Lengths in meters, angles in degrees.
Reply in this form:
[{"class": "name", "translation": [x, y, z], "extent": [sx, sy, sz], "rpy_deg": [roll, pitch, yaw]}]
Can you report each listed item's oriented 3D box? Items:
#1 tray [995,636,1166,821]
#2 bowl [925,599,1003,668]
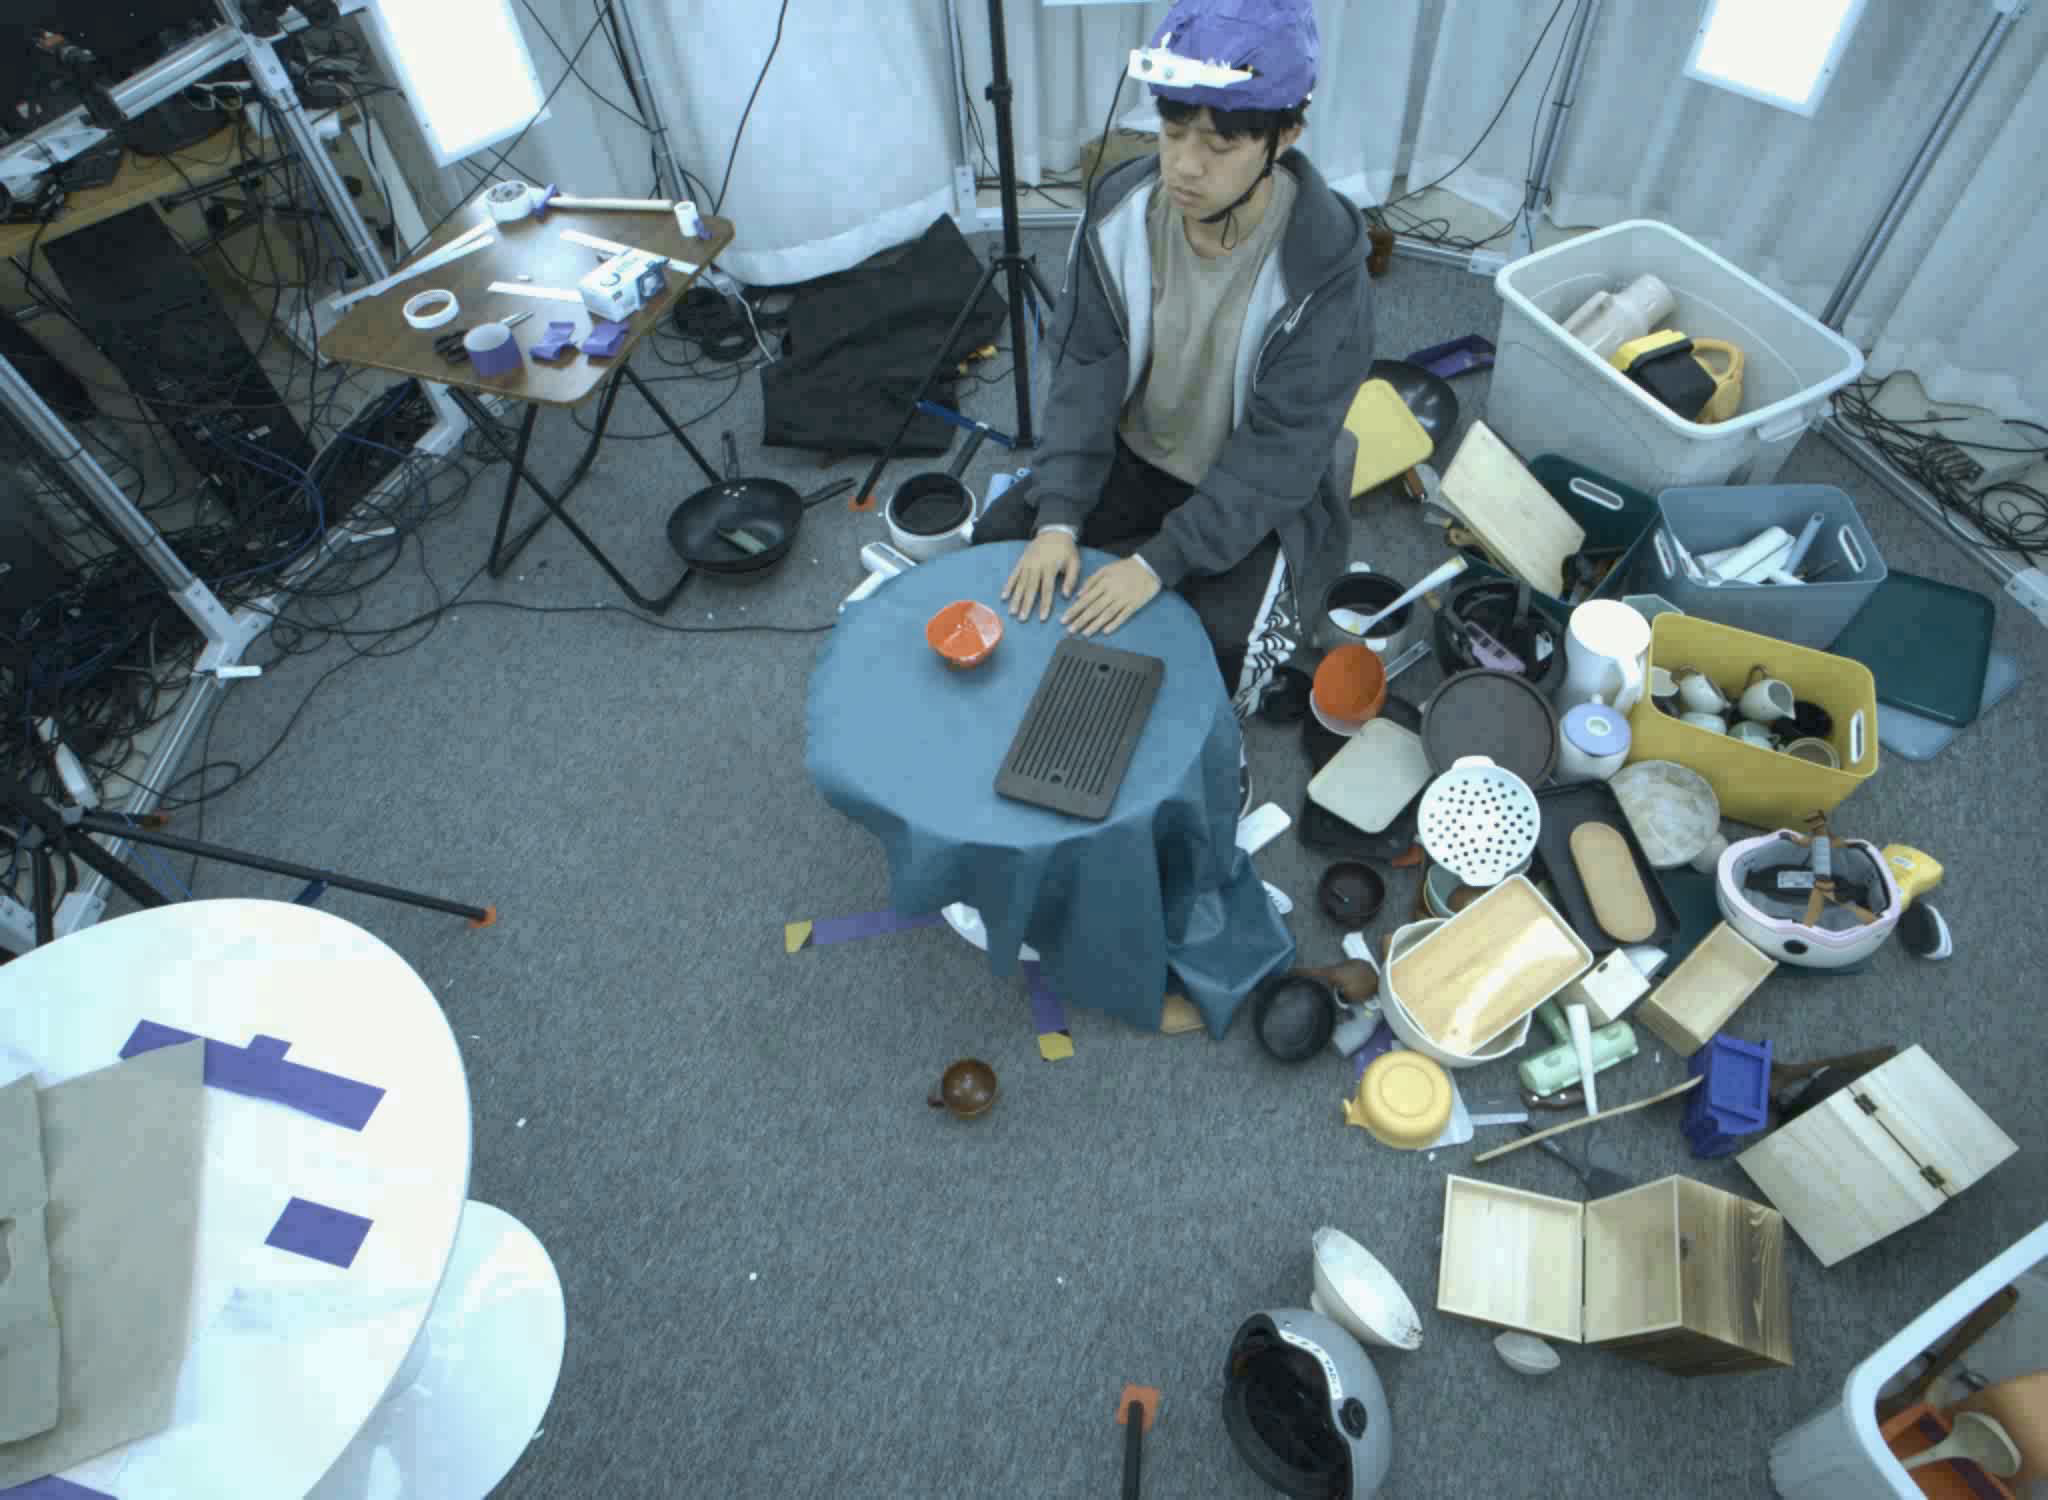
[{"class": "tray", "translation": [0.087, -0.036, 1.802], "extent": [0.168, 0.019, 0.305], "rpy_deg": [16, 56, 13]}, {"class": "bowl", "translation": [-0.090, -0.171, 1.881], "extent": [0.119, 0.052, 0.118], "rpy_deg": [-1, 55, 3]}]
